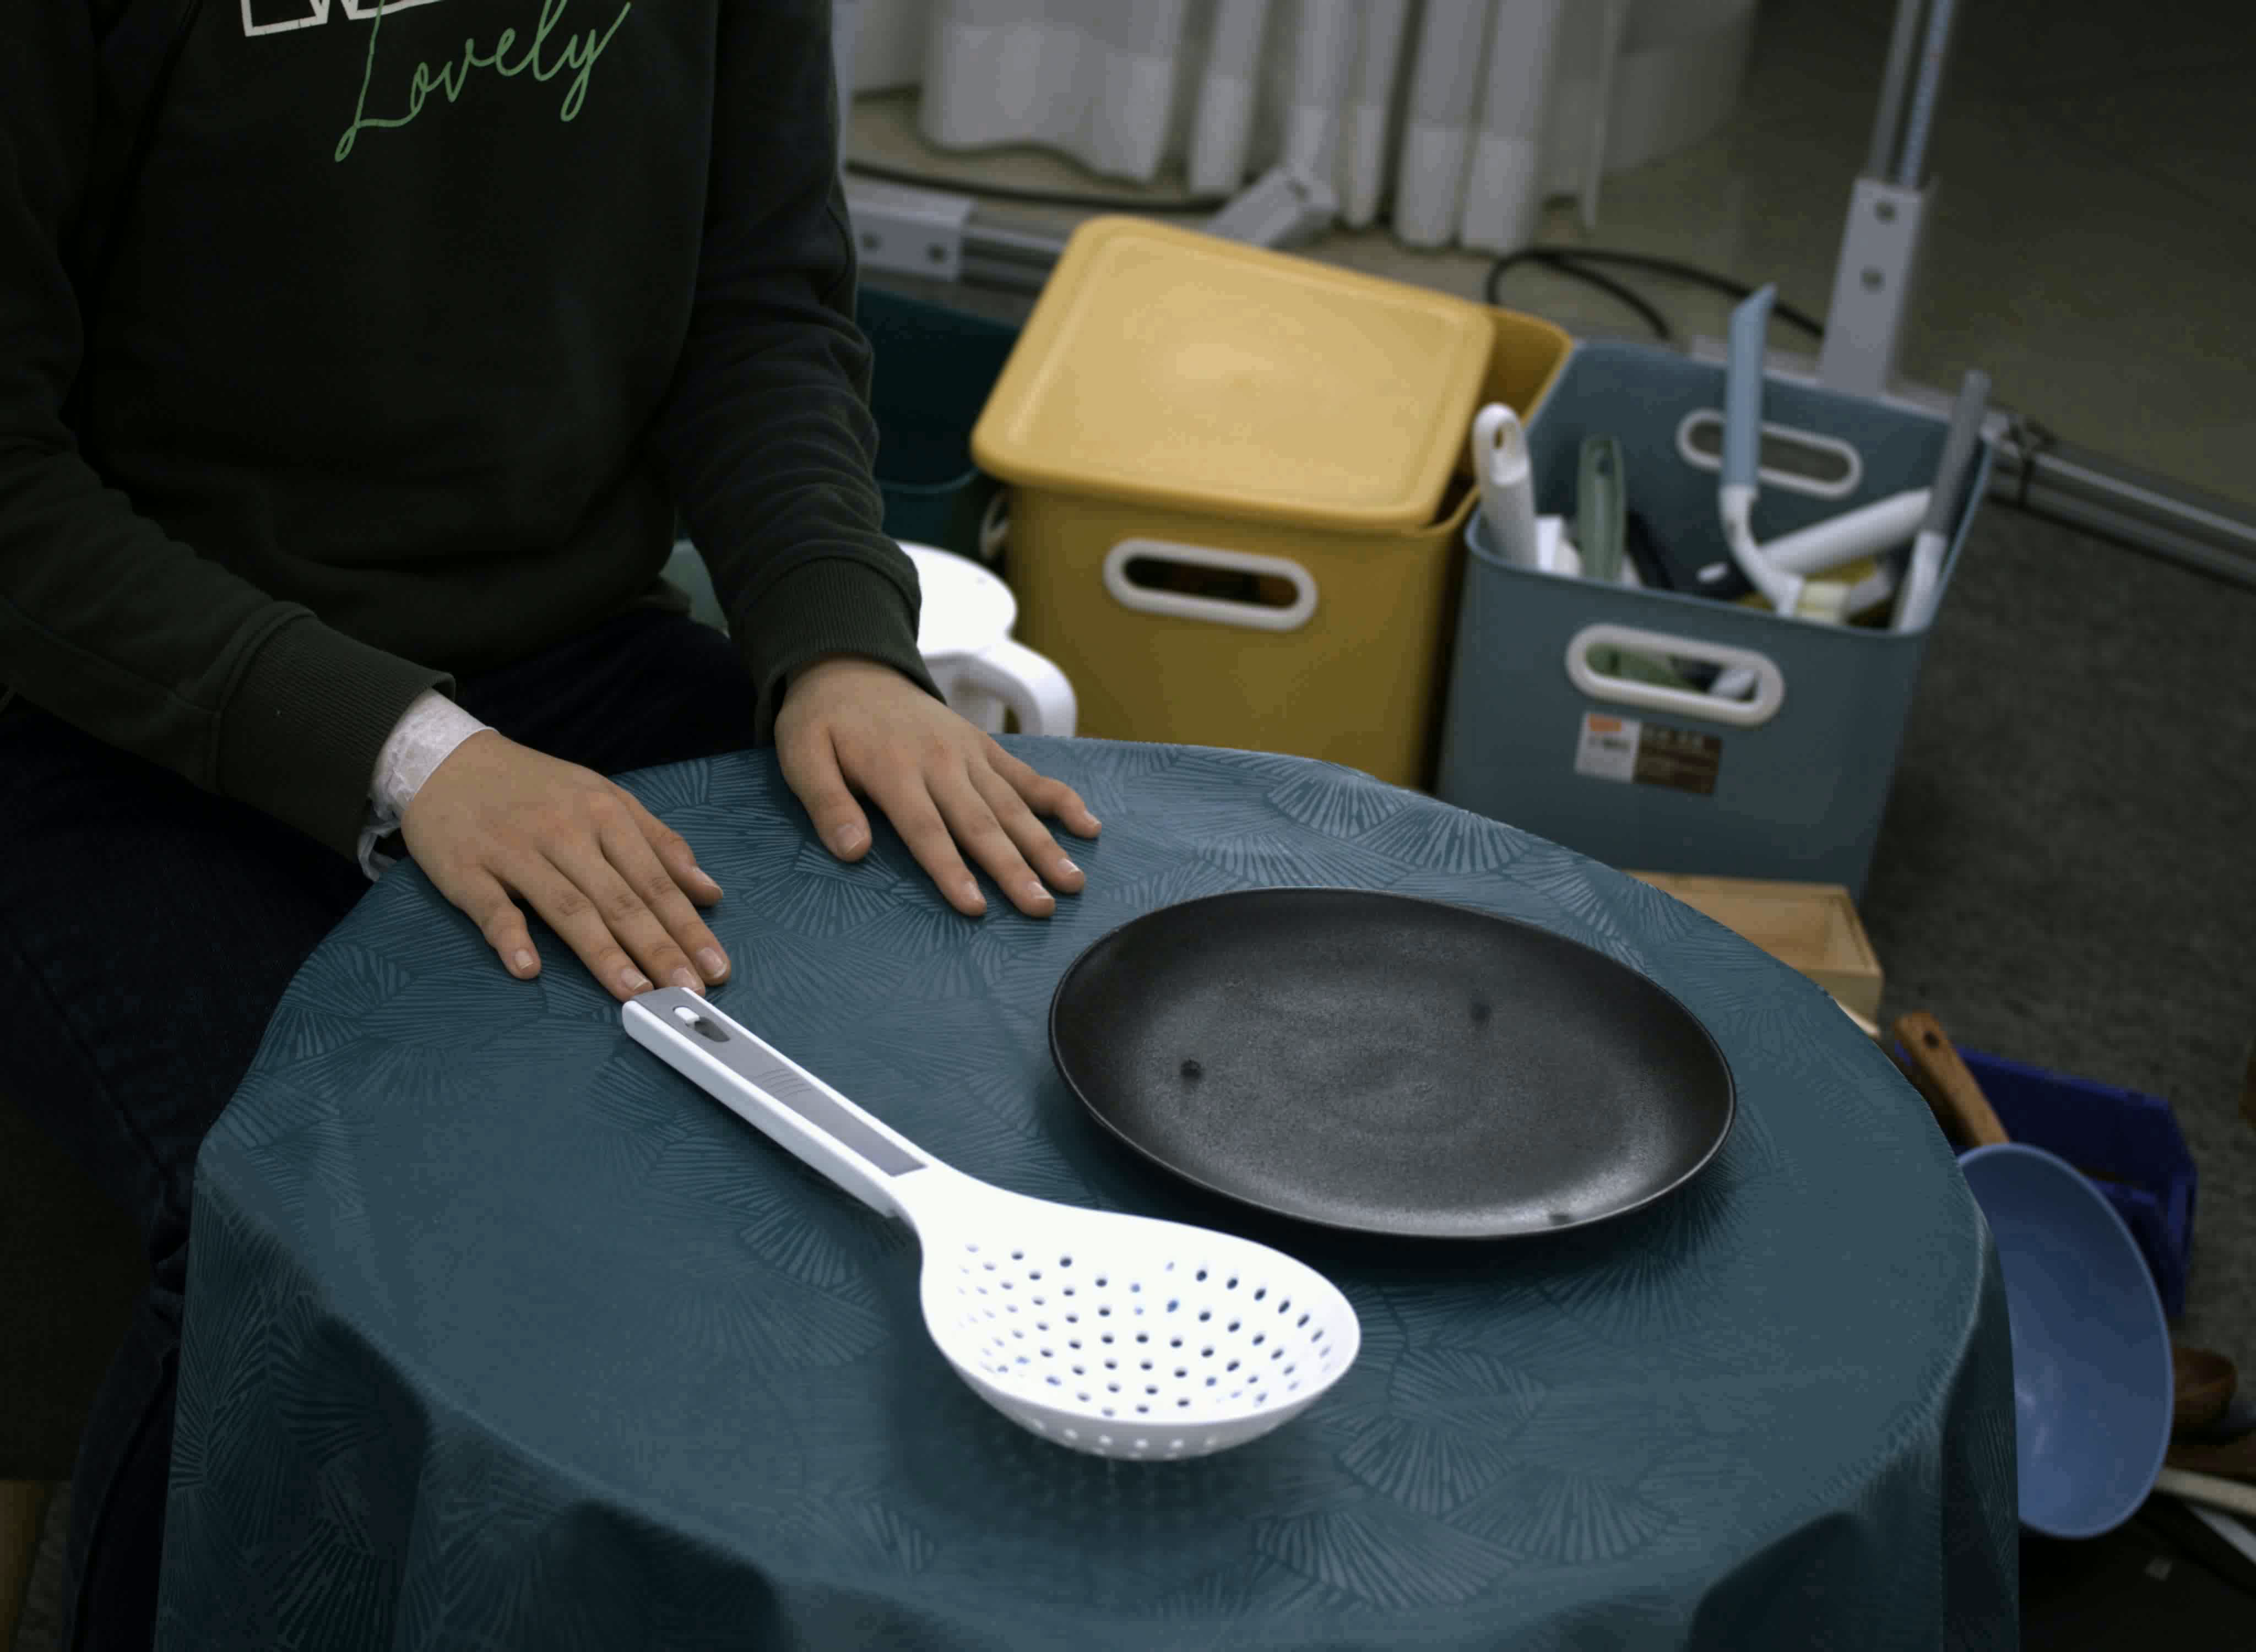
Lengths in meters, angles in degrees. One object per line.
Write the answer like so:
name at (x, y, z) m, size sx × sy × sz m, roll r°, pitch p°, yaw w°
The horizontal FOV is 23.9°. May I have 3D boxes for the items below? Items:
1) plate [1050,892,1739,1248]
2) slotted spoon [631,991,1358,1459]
plate at (0.092, 0.089, 1.865) m, size 0.243 × 0.023 × 0.246 m, roll 5°, pitch 27°, yaw -3°
slotted spoon at (-0.061, 0.124, 1.736) m, size 0.135 × 0.045 × 0.353 m, roll -11°, pitch 31°, yaw -35°
